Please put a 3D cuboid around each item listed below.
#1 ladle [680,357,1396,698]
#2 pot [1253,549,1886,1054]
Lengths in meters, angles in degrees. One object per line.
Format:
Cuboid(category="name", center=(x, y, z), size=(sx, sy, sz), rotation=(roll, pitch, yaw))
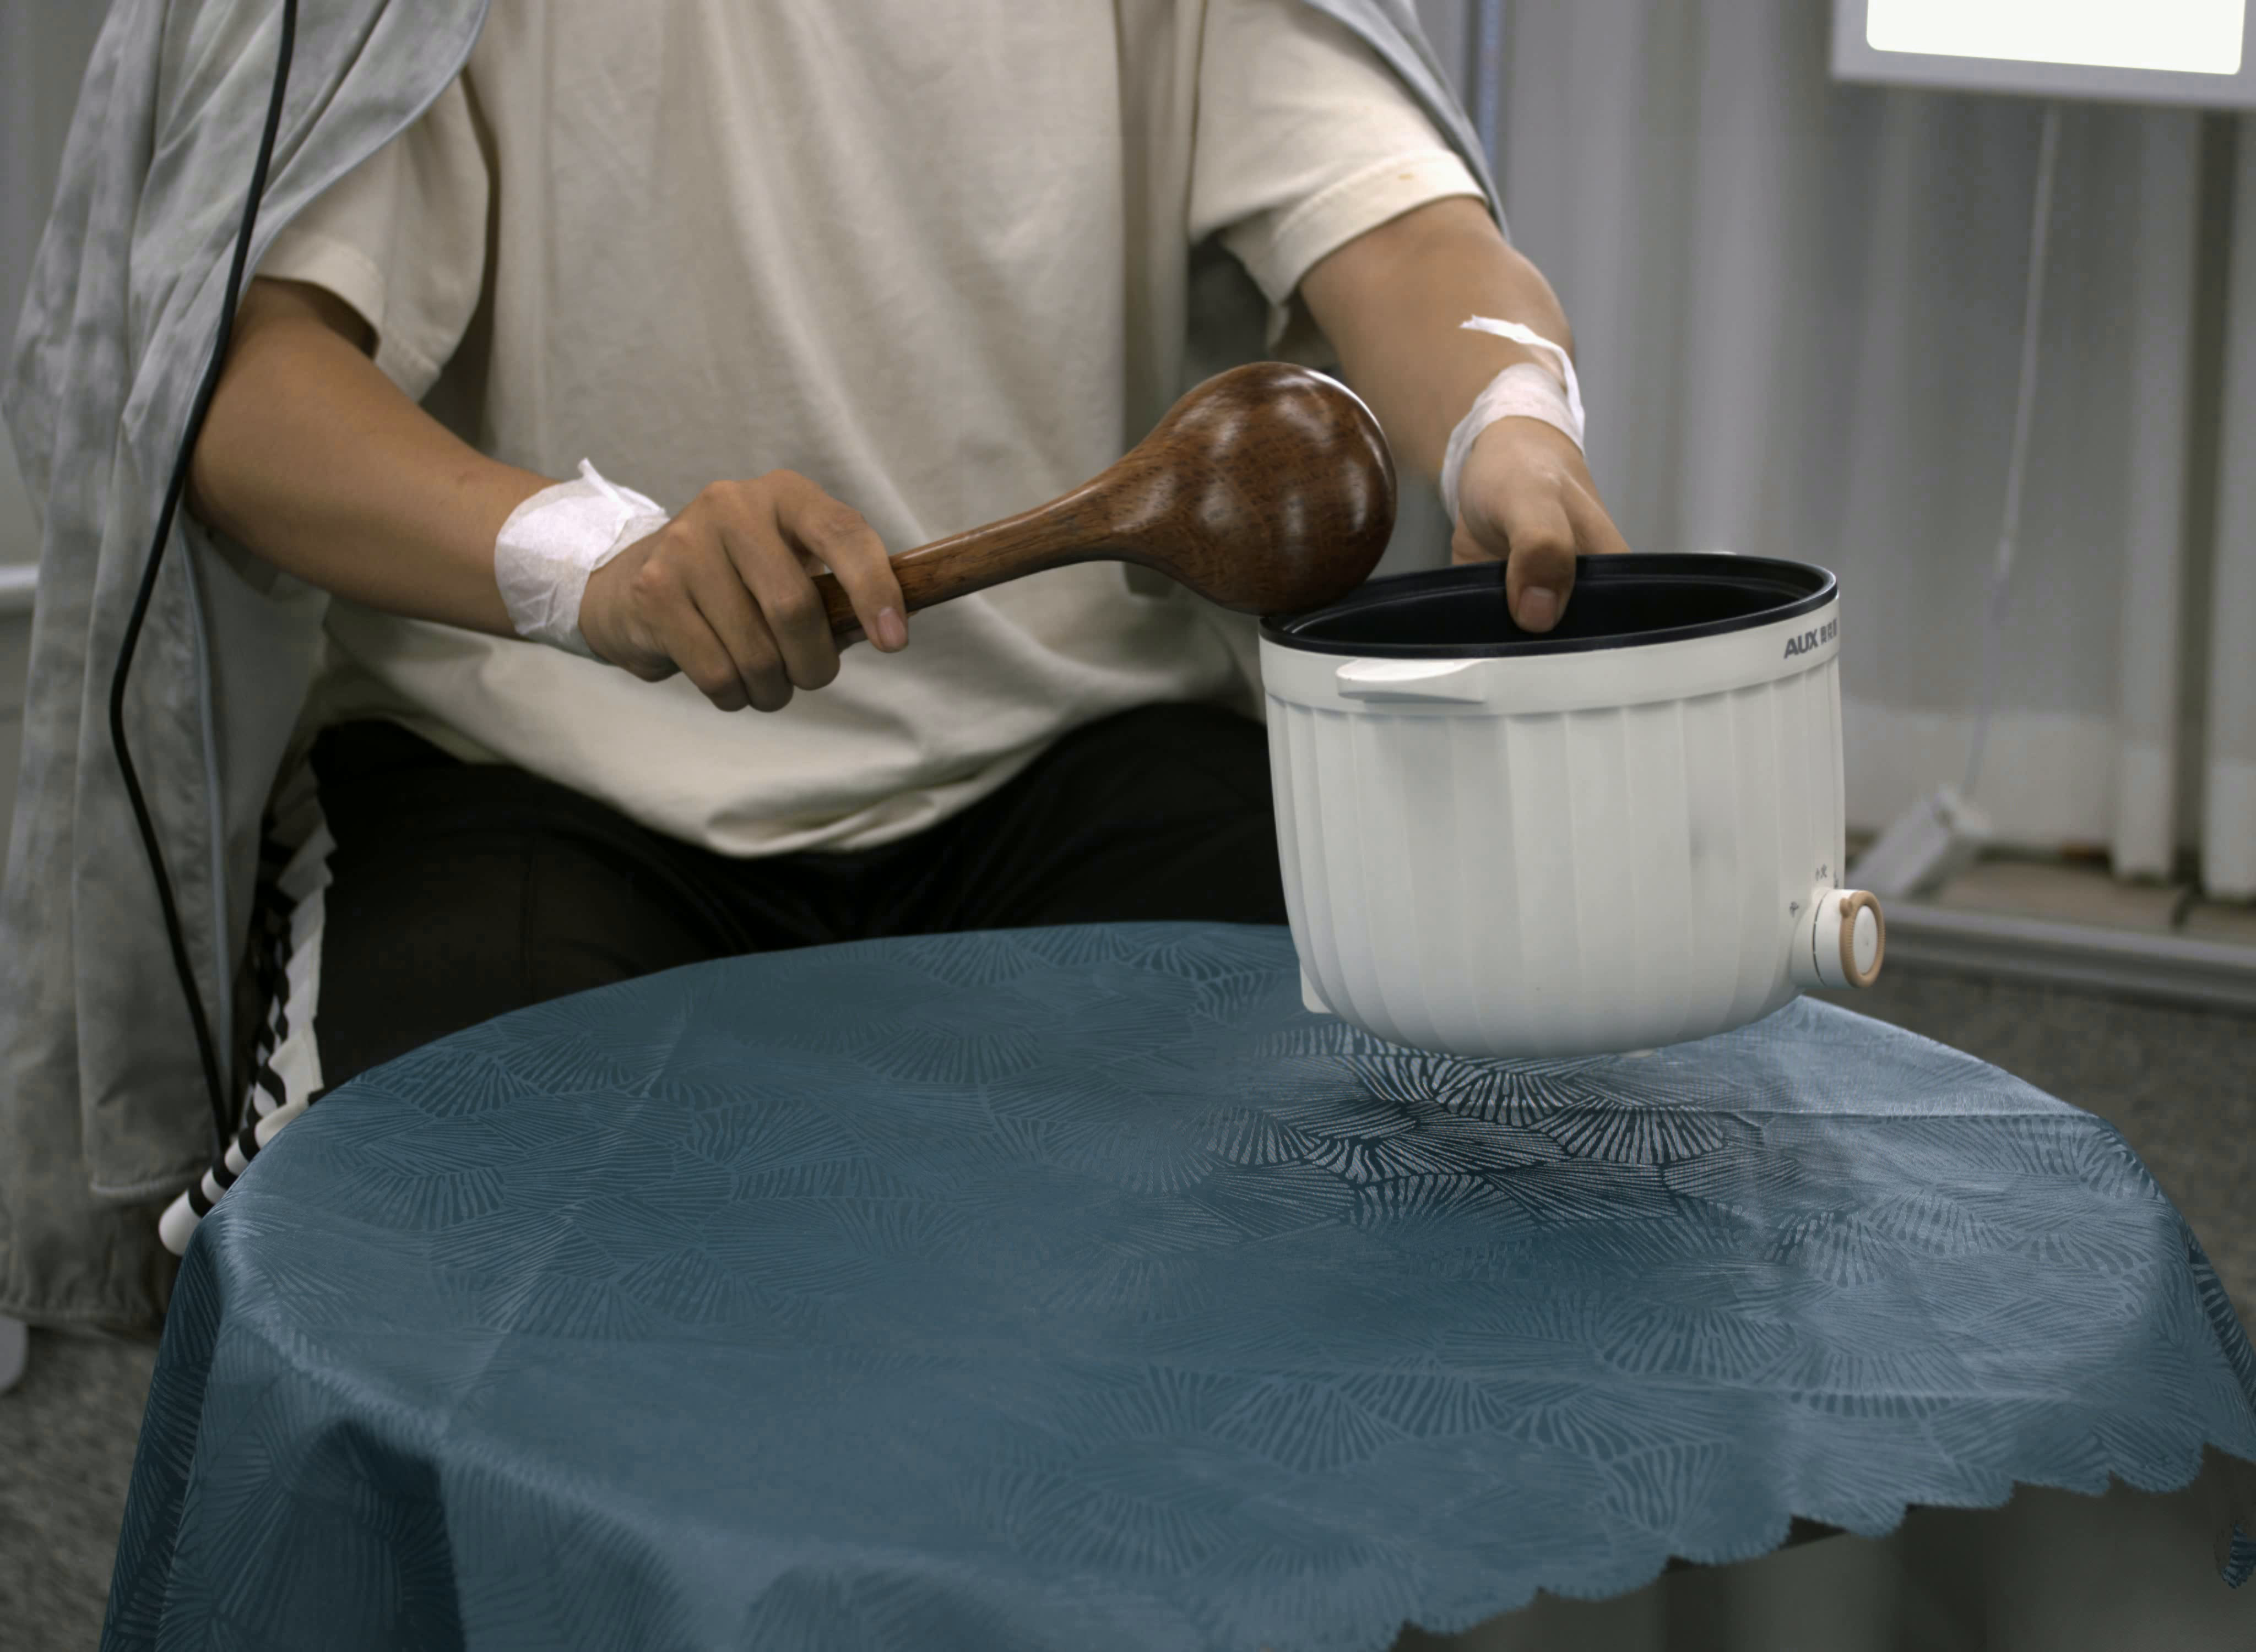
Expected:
Cuboid(category="ladle", center=(-0.031, -0.084, 1.710), size=(0.077, 0.082, 0.272), rotation=(8, -19, -44))
Cuboid(category="pot", center=(0.140, -0.007, 1.652), size=(0.188, 0.143, 0.241), rotation=(-2, 11, 30))
